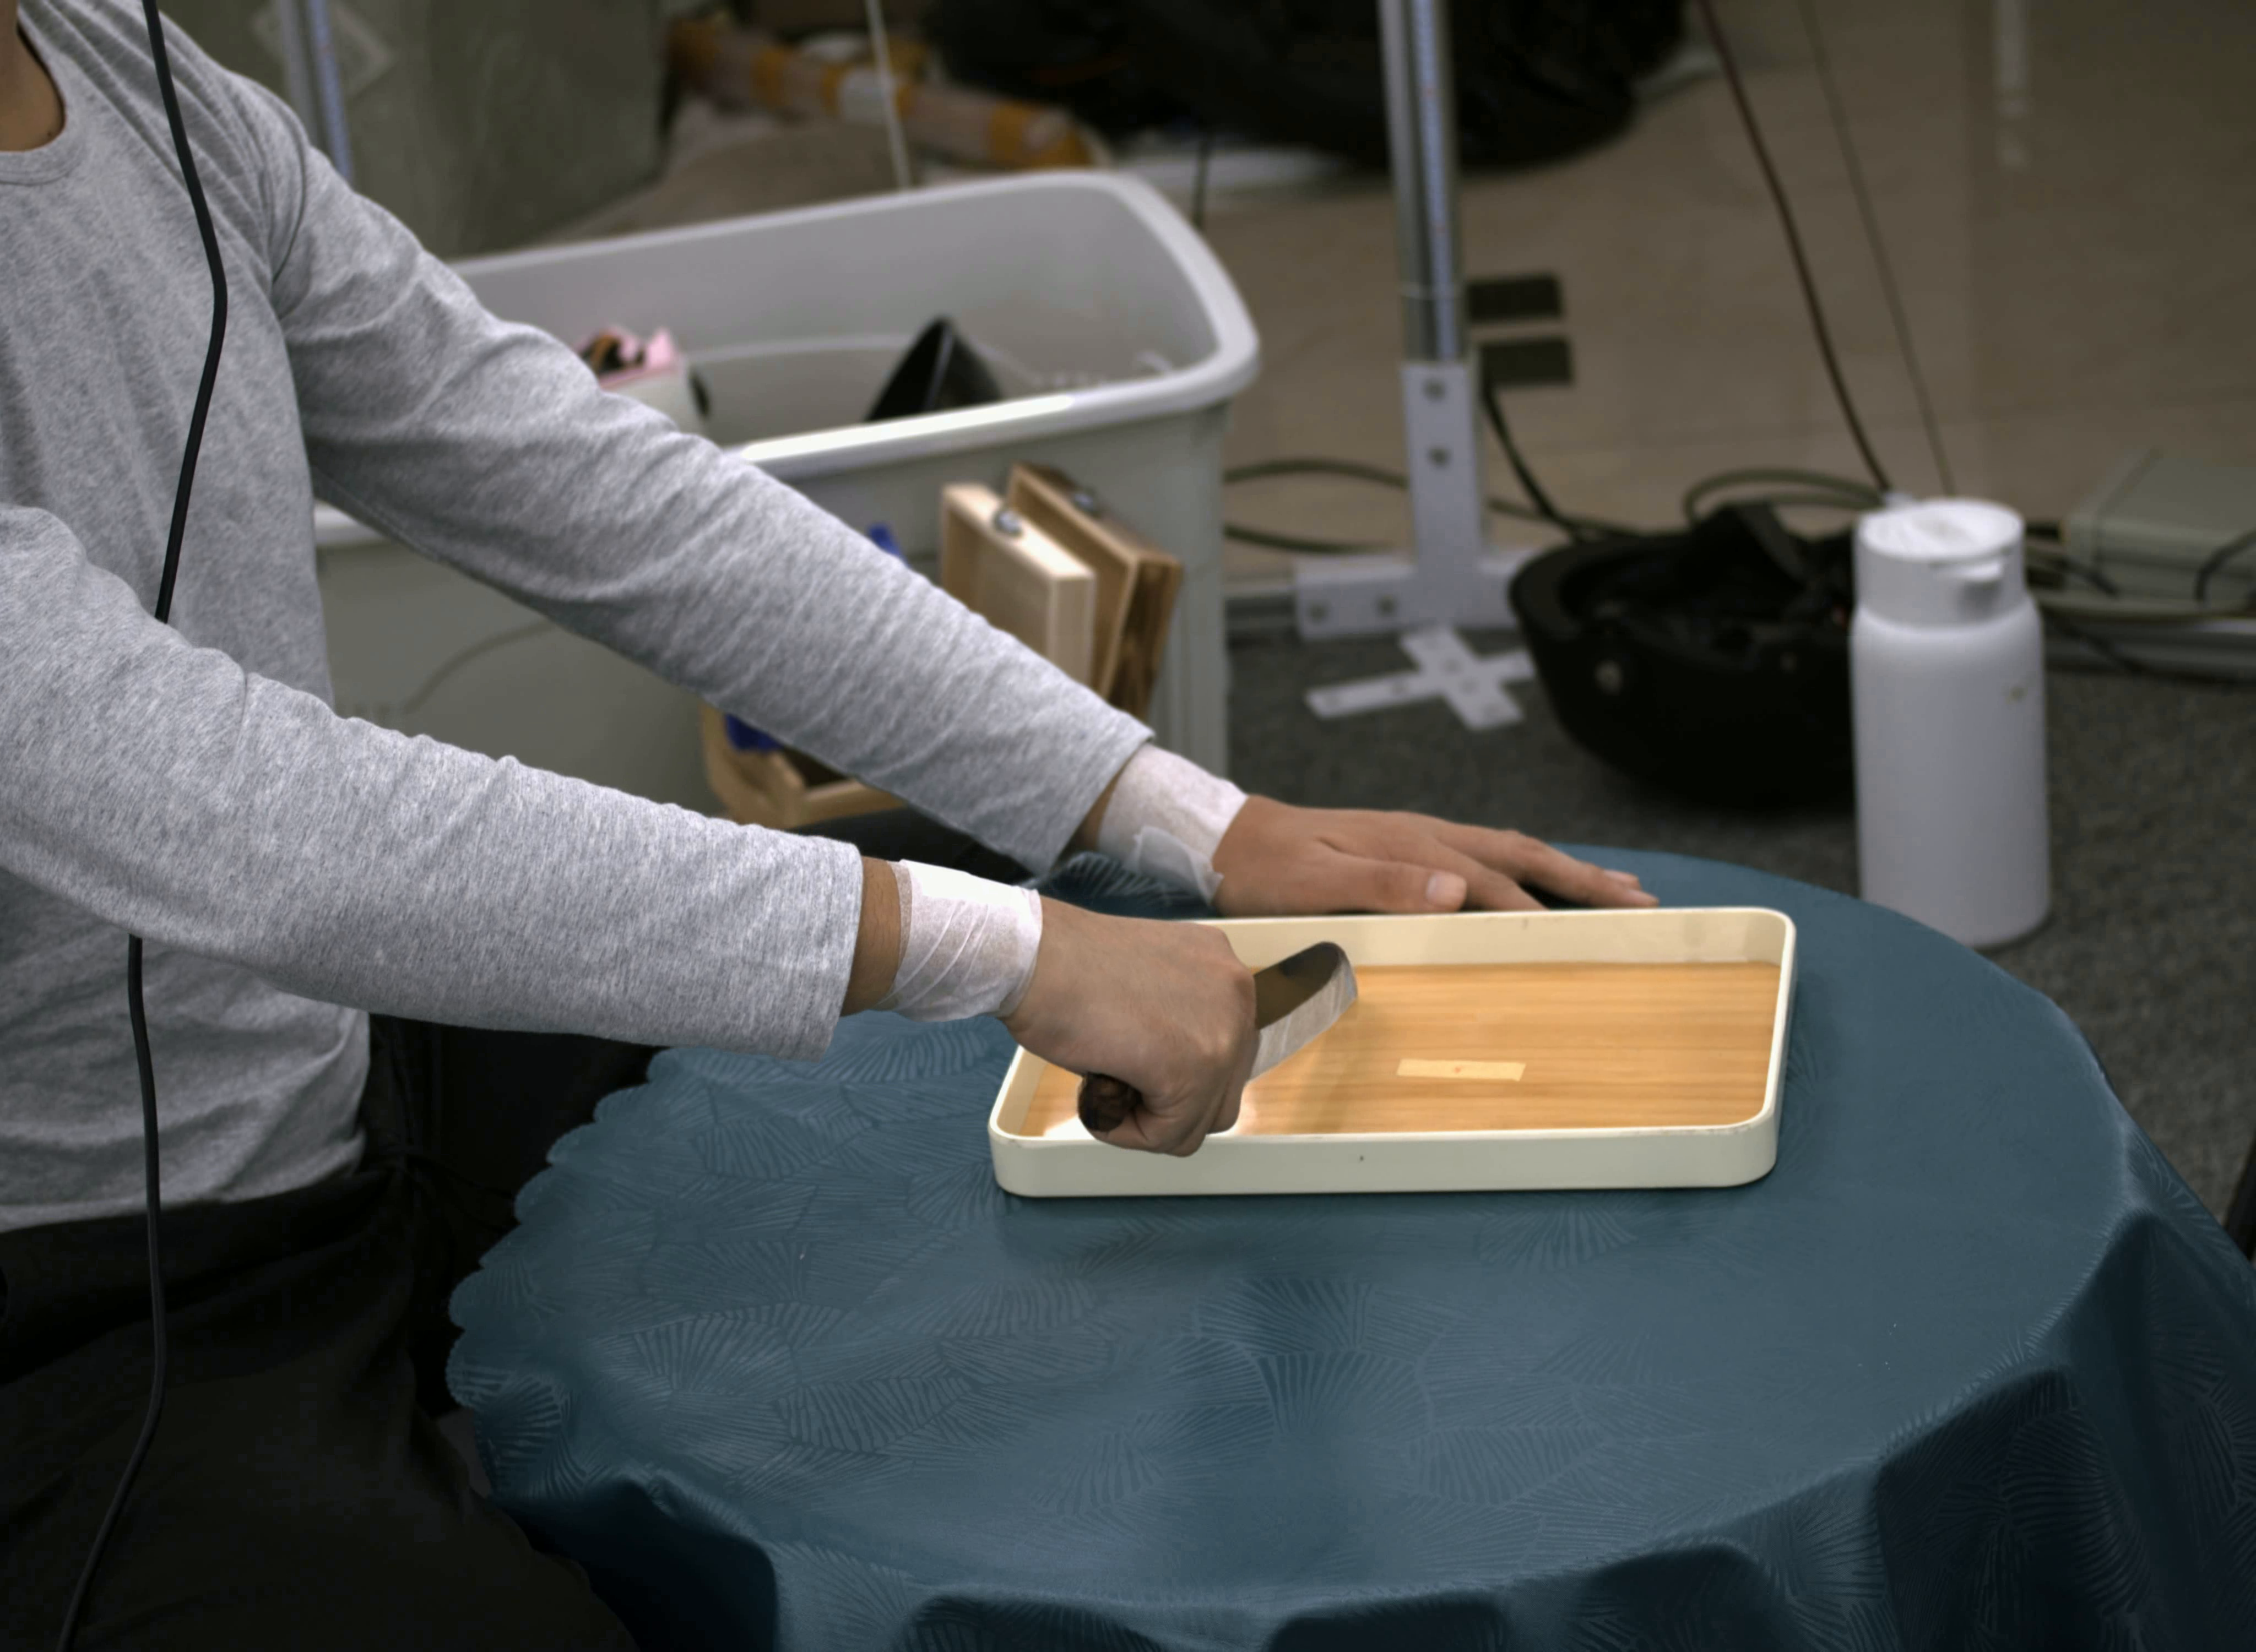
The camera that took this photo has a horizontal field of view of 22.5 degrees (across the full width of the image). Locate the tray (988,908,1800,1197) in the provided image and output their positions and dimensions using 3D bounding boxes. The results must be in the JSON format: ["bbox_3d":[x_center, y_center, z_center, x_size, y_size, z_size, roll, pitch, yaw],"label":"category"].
[{"bbox_3d":[0.107,0.087,2.206,0.300,0.028,0.189,-2,25,11],"label":"tray"}]

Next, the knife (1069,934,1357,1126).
[{"bbox_3d":[0.039,0.078,2.134,0.020,0.050,0.288,11,10,20],"label":"knife"}]
